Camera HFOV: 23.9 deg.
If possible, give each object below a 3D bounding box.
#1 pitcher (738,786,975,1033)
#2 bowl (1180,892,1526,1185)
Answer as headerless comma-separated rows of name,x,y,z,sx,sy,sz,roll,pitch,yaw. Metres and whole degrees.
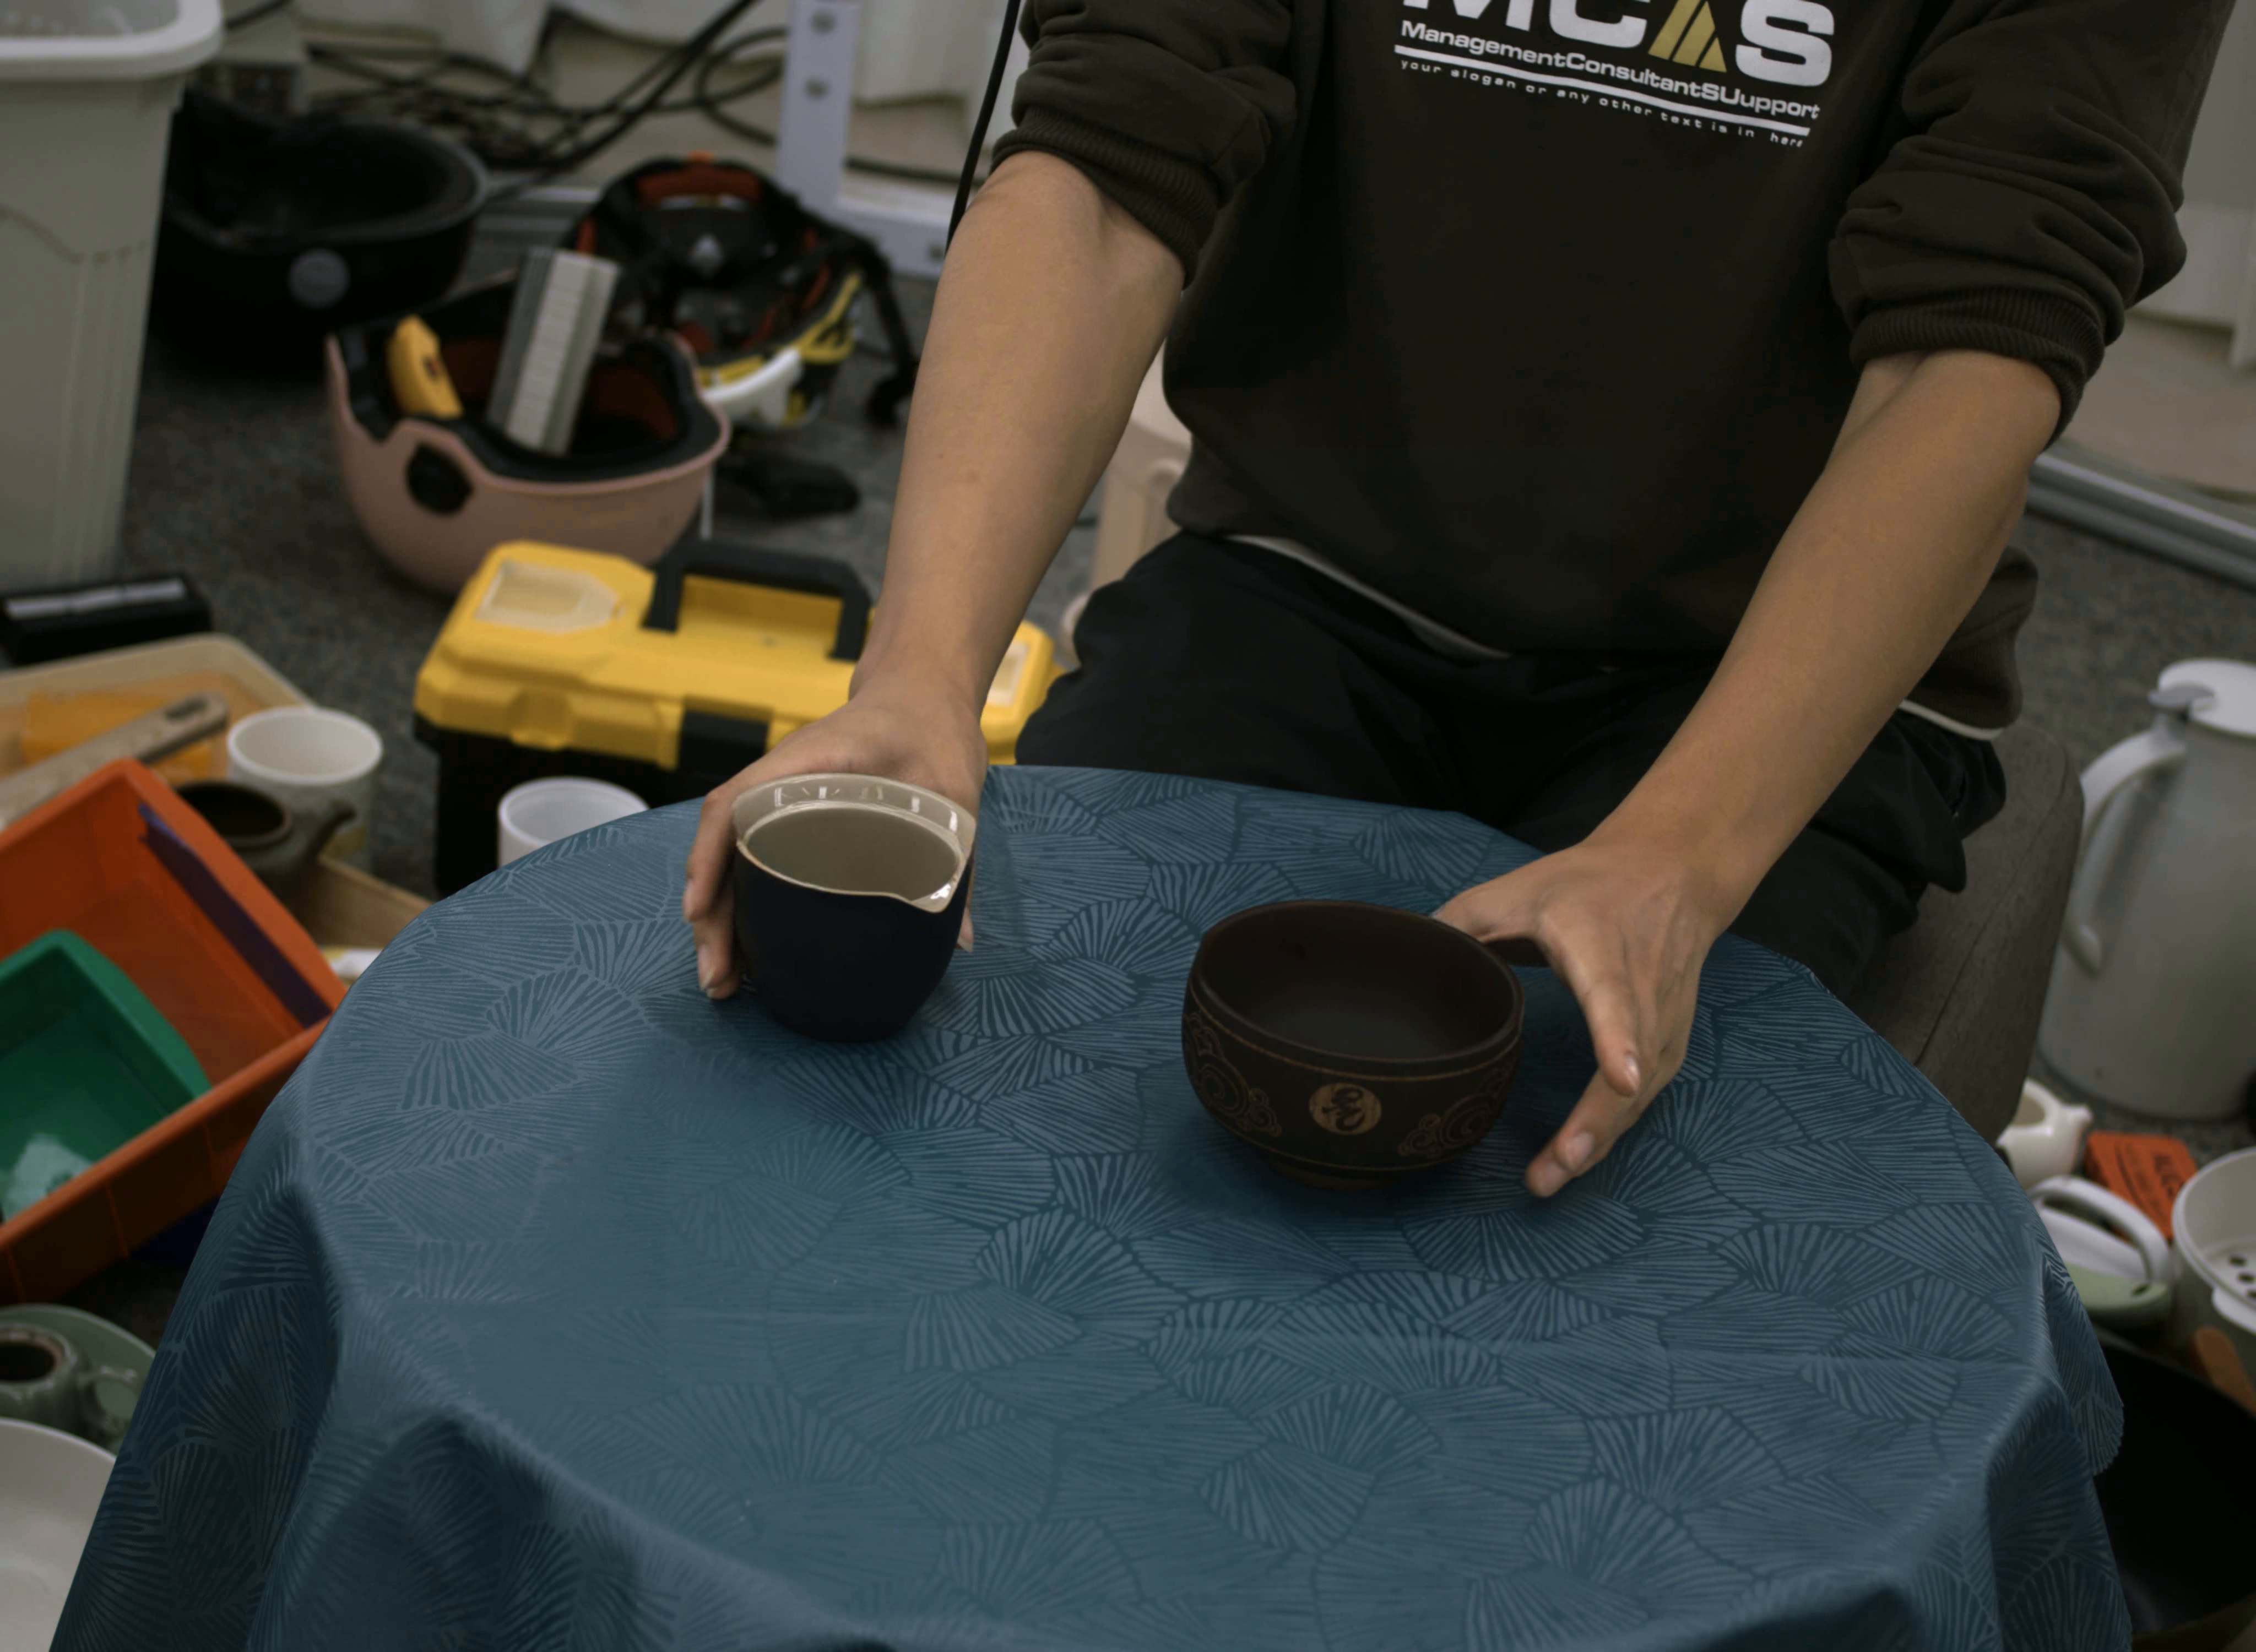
pitcher,-0.096,0.033,1.880,0.083,0.071,0.097,-6,28,-28
bowl,0.075,0.080,1.831,0.117,0.069,0.119,4,28,-3
